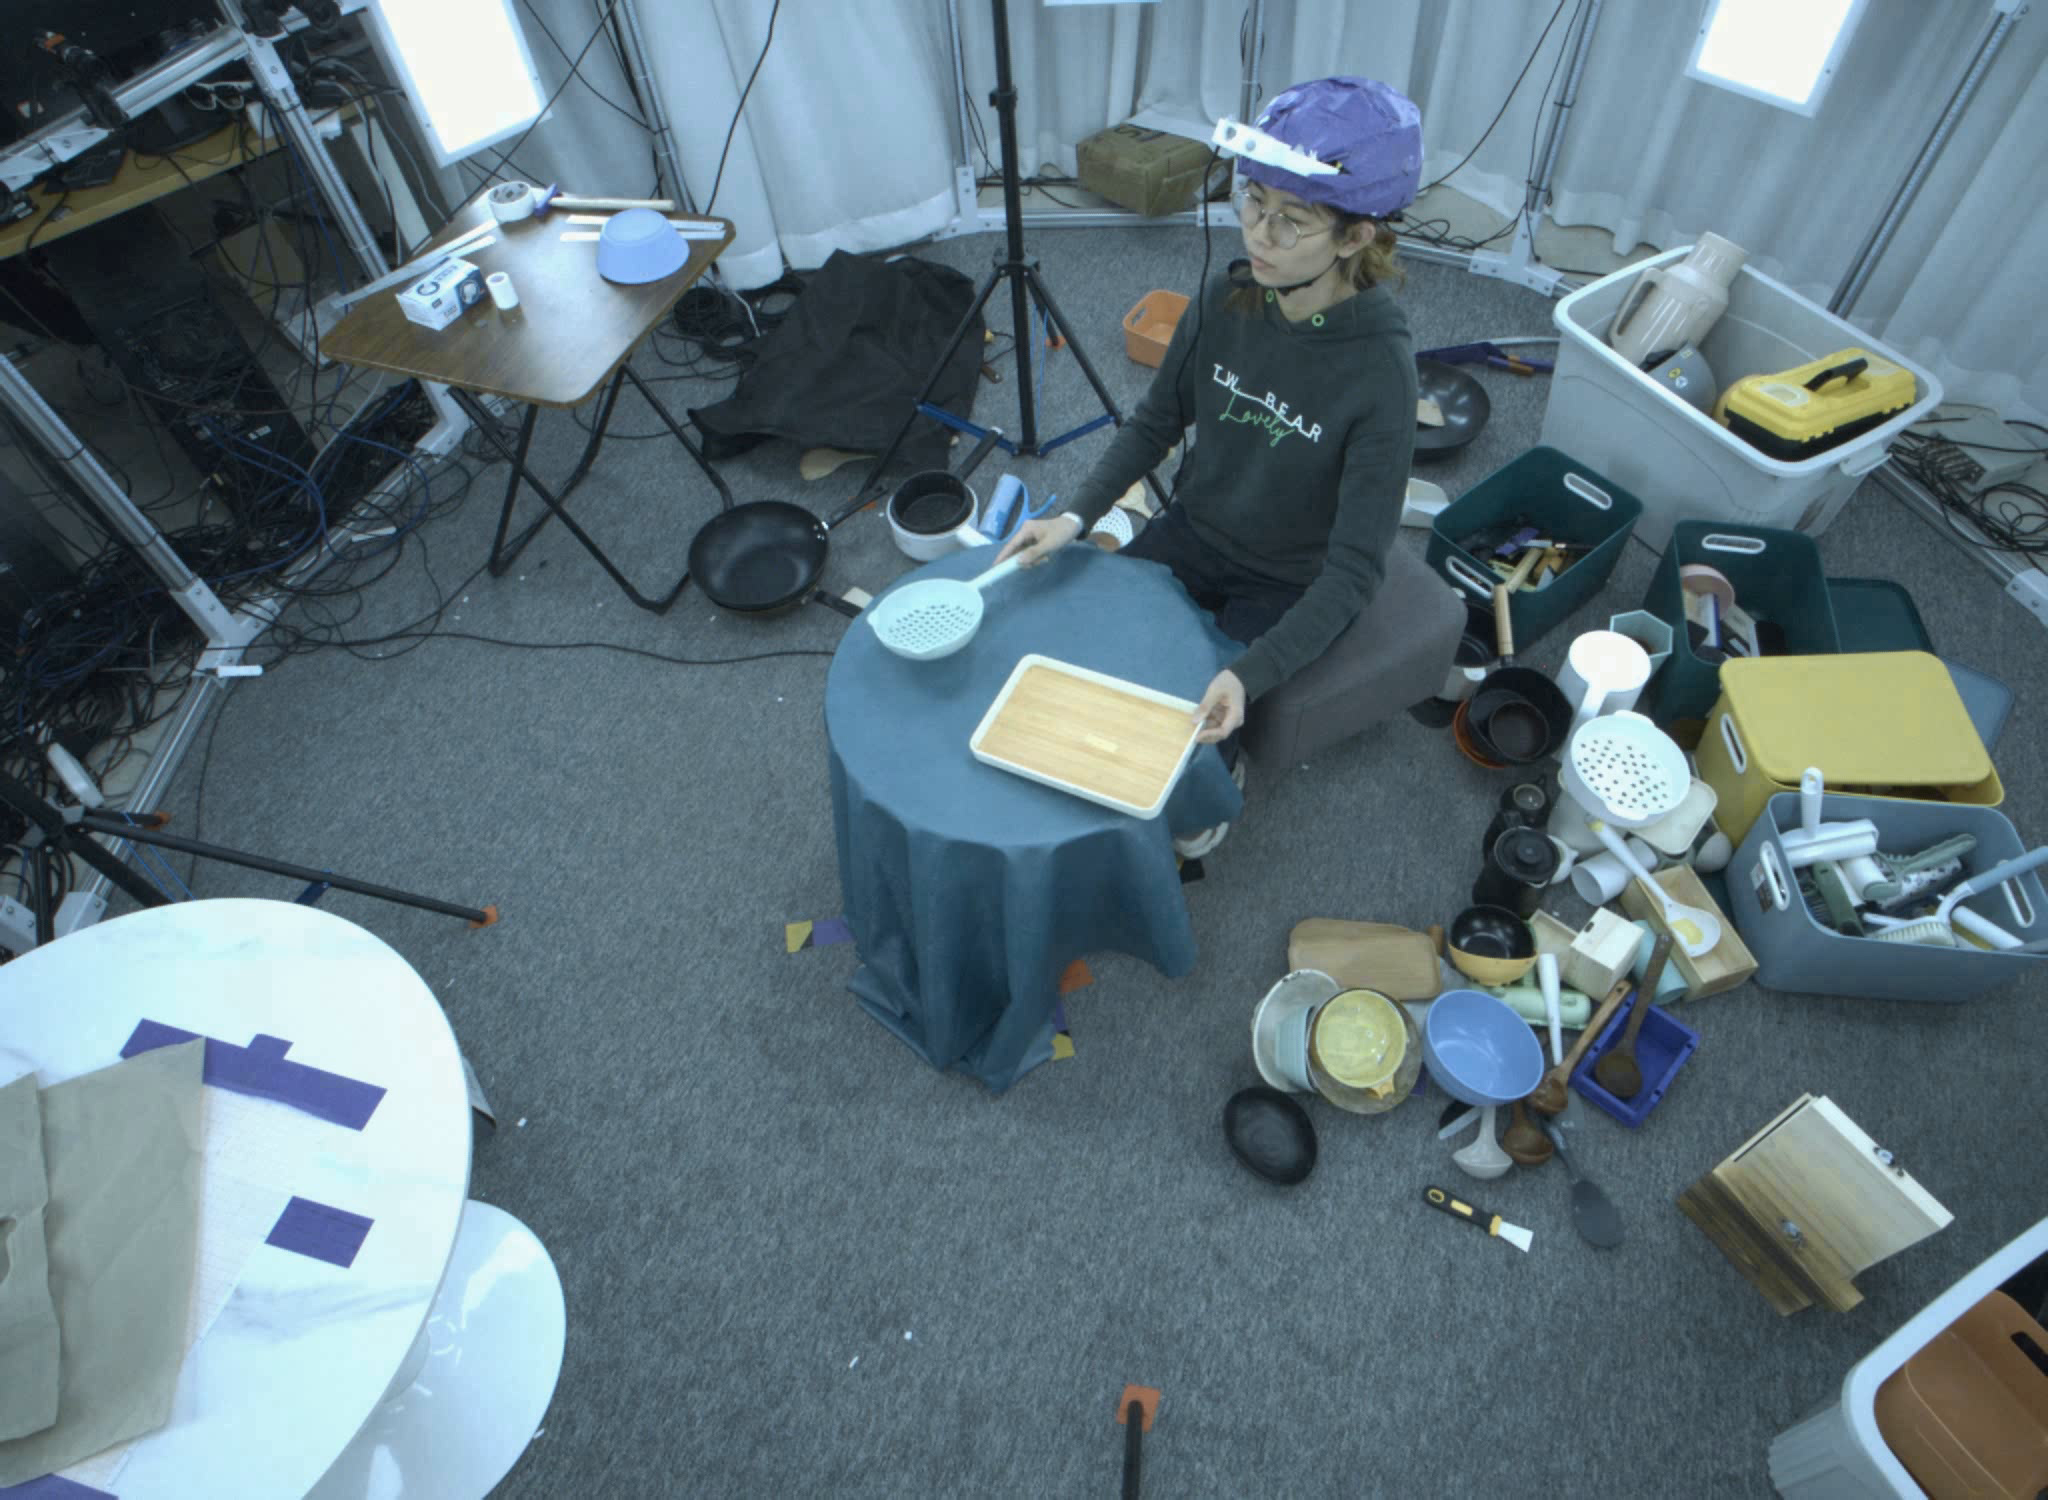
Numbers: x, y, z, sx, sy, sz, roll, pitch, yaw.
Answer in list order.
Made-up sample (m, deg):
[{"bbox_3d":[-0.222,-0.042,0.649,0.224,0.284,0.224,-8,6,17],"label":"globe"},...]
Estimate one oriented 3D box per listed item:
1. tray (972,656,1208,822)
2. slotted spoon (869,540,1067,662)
[{"bbox_3d":[0.094,-0.020,1.766,0.295,0.028,0.192,20,62,21],"label":"tray"},{"bbox_3d":[-0.070,-0.247,1.901,0.361,0.076,0.165,-41,54,-20],"label":"slotted spoon"}]
